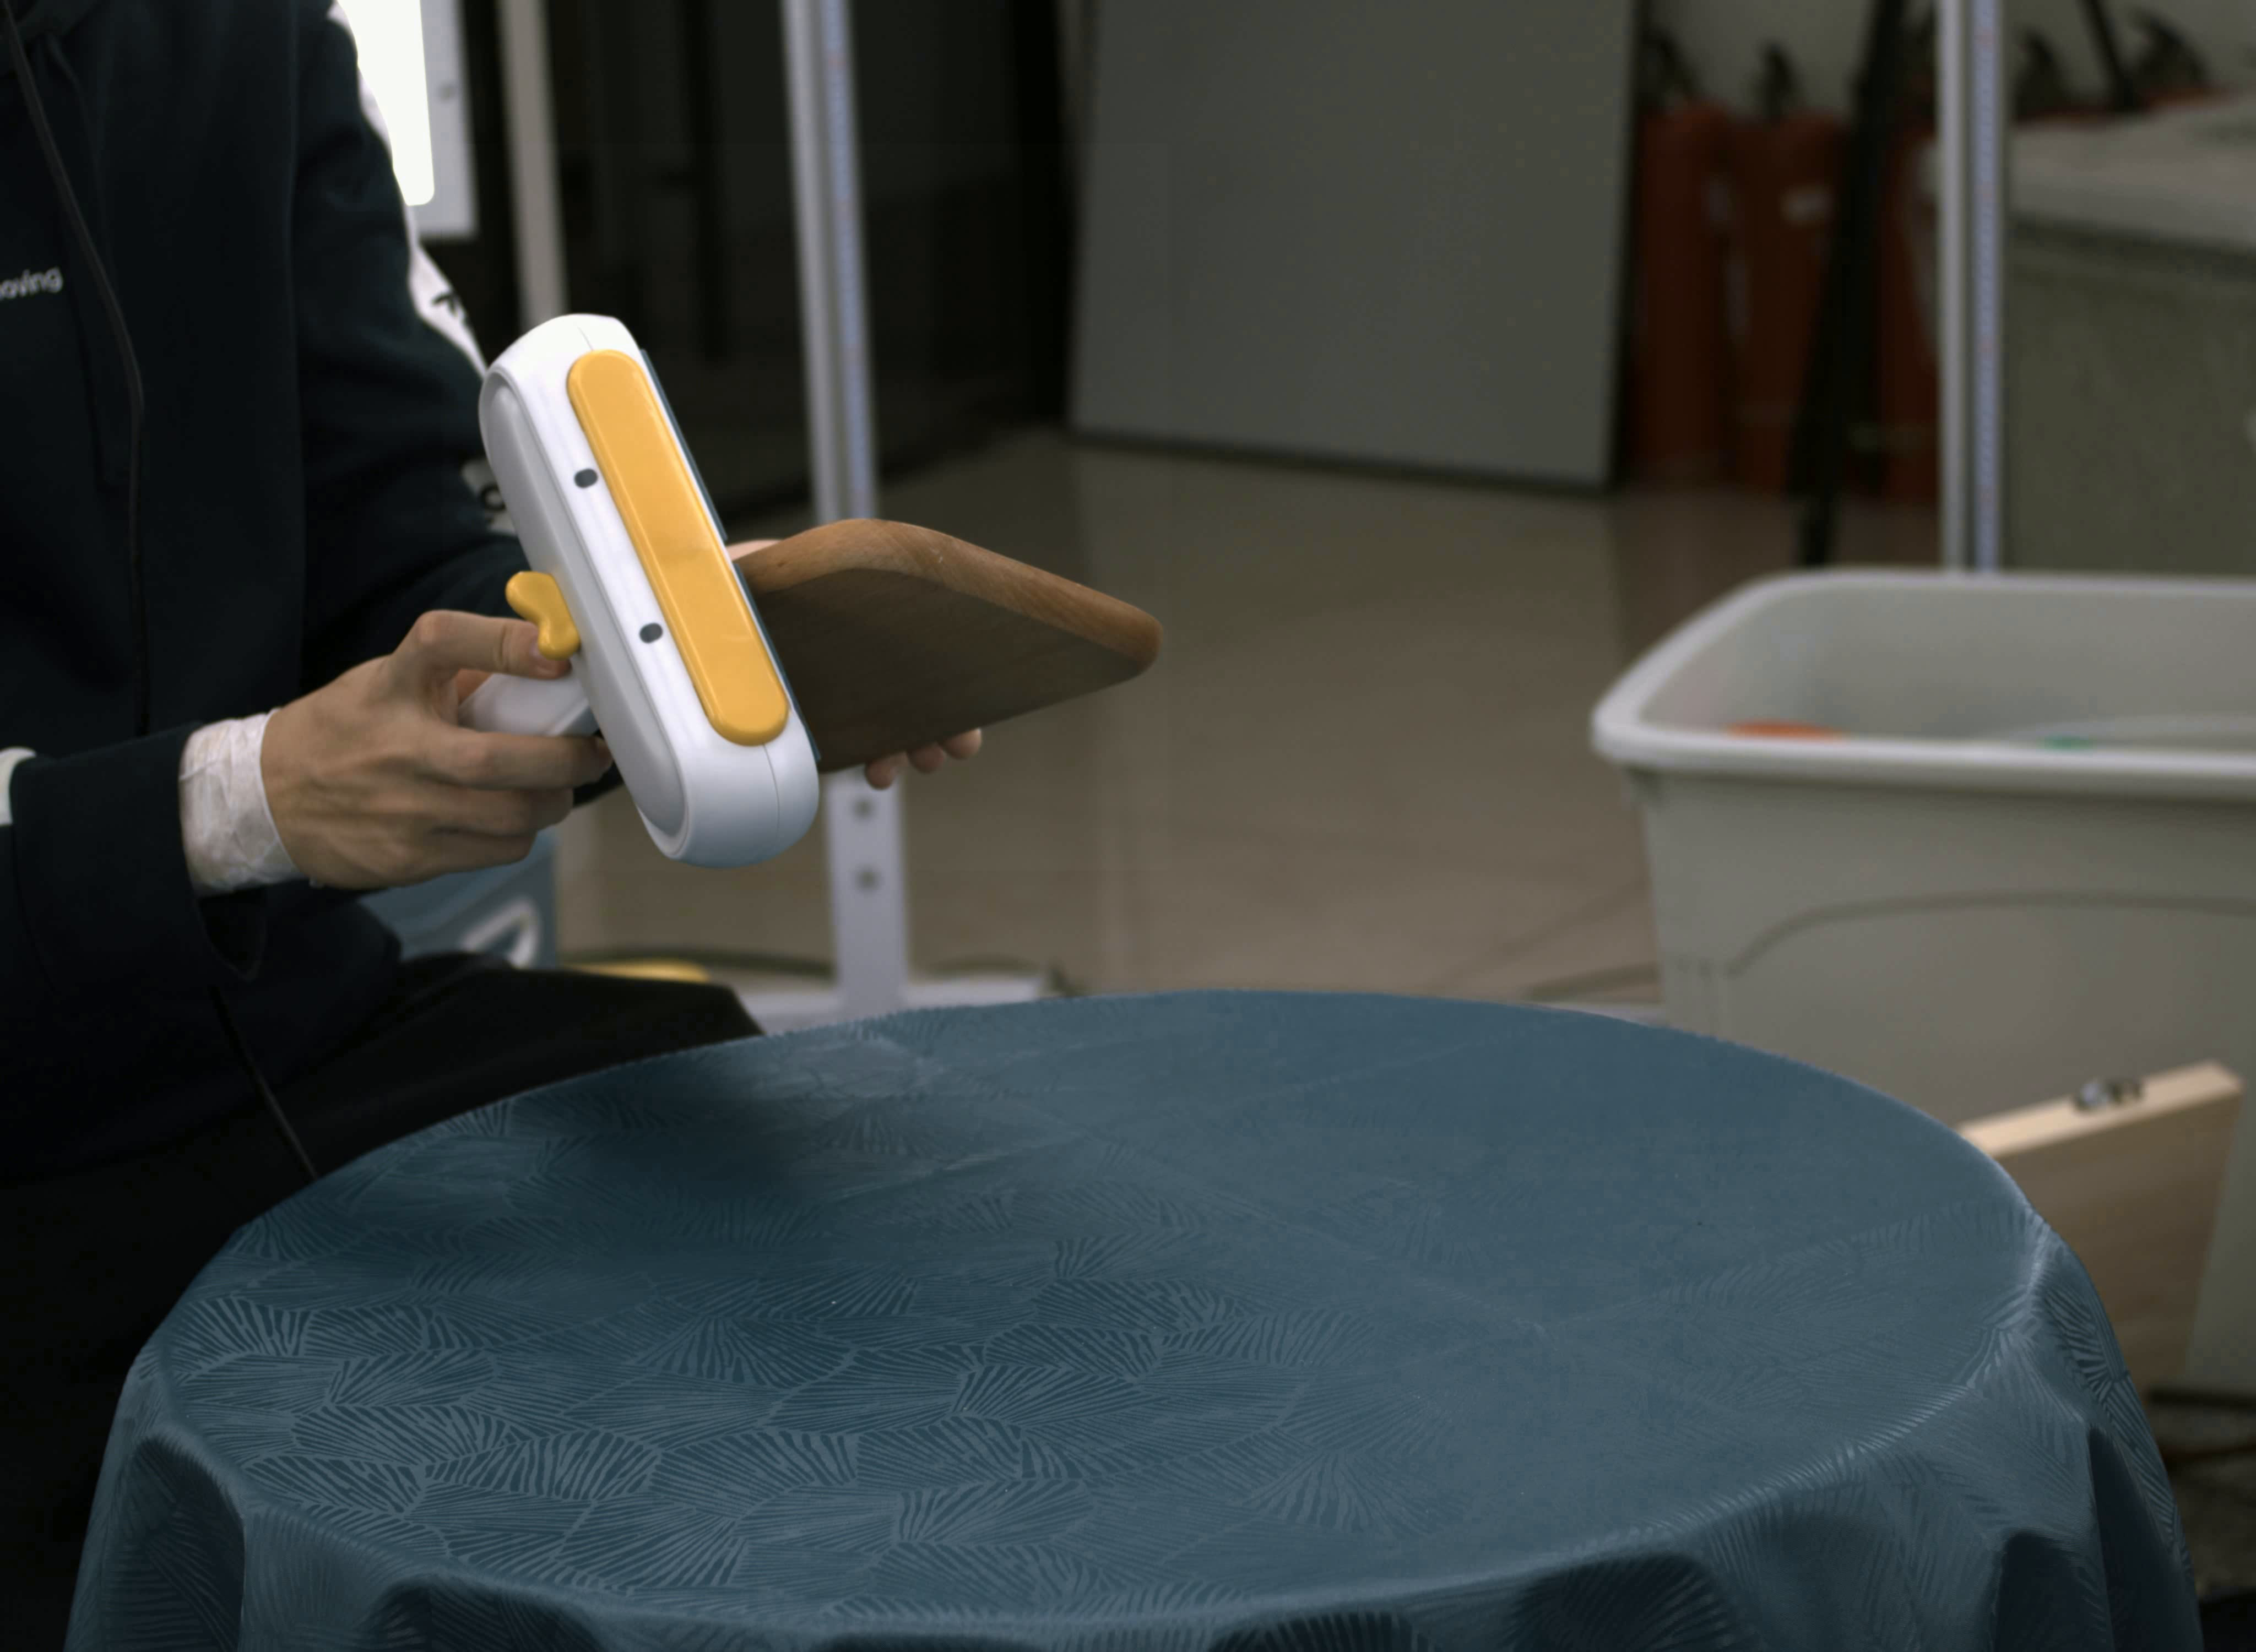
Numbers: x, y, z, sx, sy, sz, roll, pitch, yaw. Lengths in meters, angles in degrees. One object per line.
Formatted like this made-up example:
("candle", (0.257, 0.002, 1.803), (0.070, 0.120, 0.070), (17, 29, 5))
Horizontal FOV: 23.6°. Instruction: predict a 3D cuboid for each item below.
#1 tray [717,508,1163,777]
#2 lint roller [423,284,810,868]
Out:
("tray", (-0.096, -0.058, 1.815), (0.128, 0.023, 0.253), (23, -21, -25))
("lint roller", (-0.183, -0.053, 1.790), (0.073, 0.195, 0.194), (-20, -22, -31))
